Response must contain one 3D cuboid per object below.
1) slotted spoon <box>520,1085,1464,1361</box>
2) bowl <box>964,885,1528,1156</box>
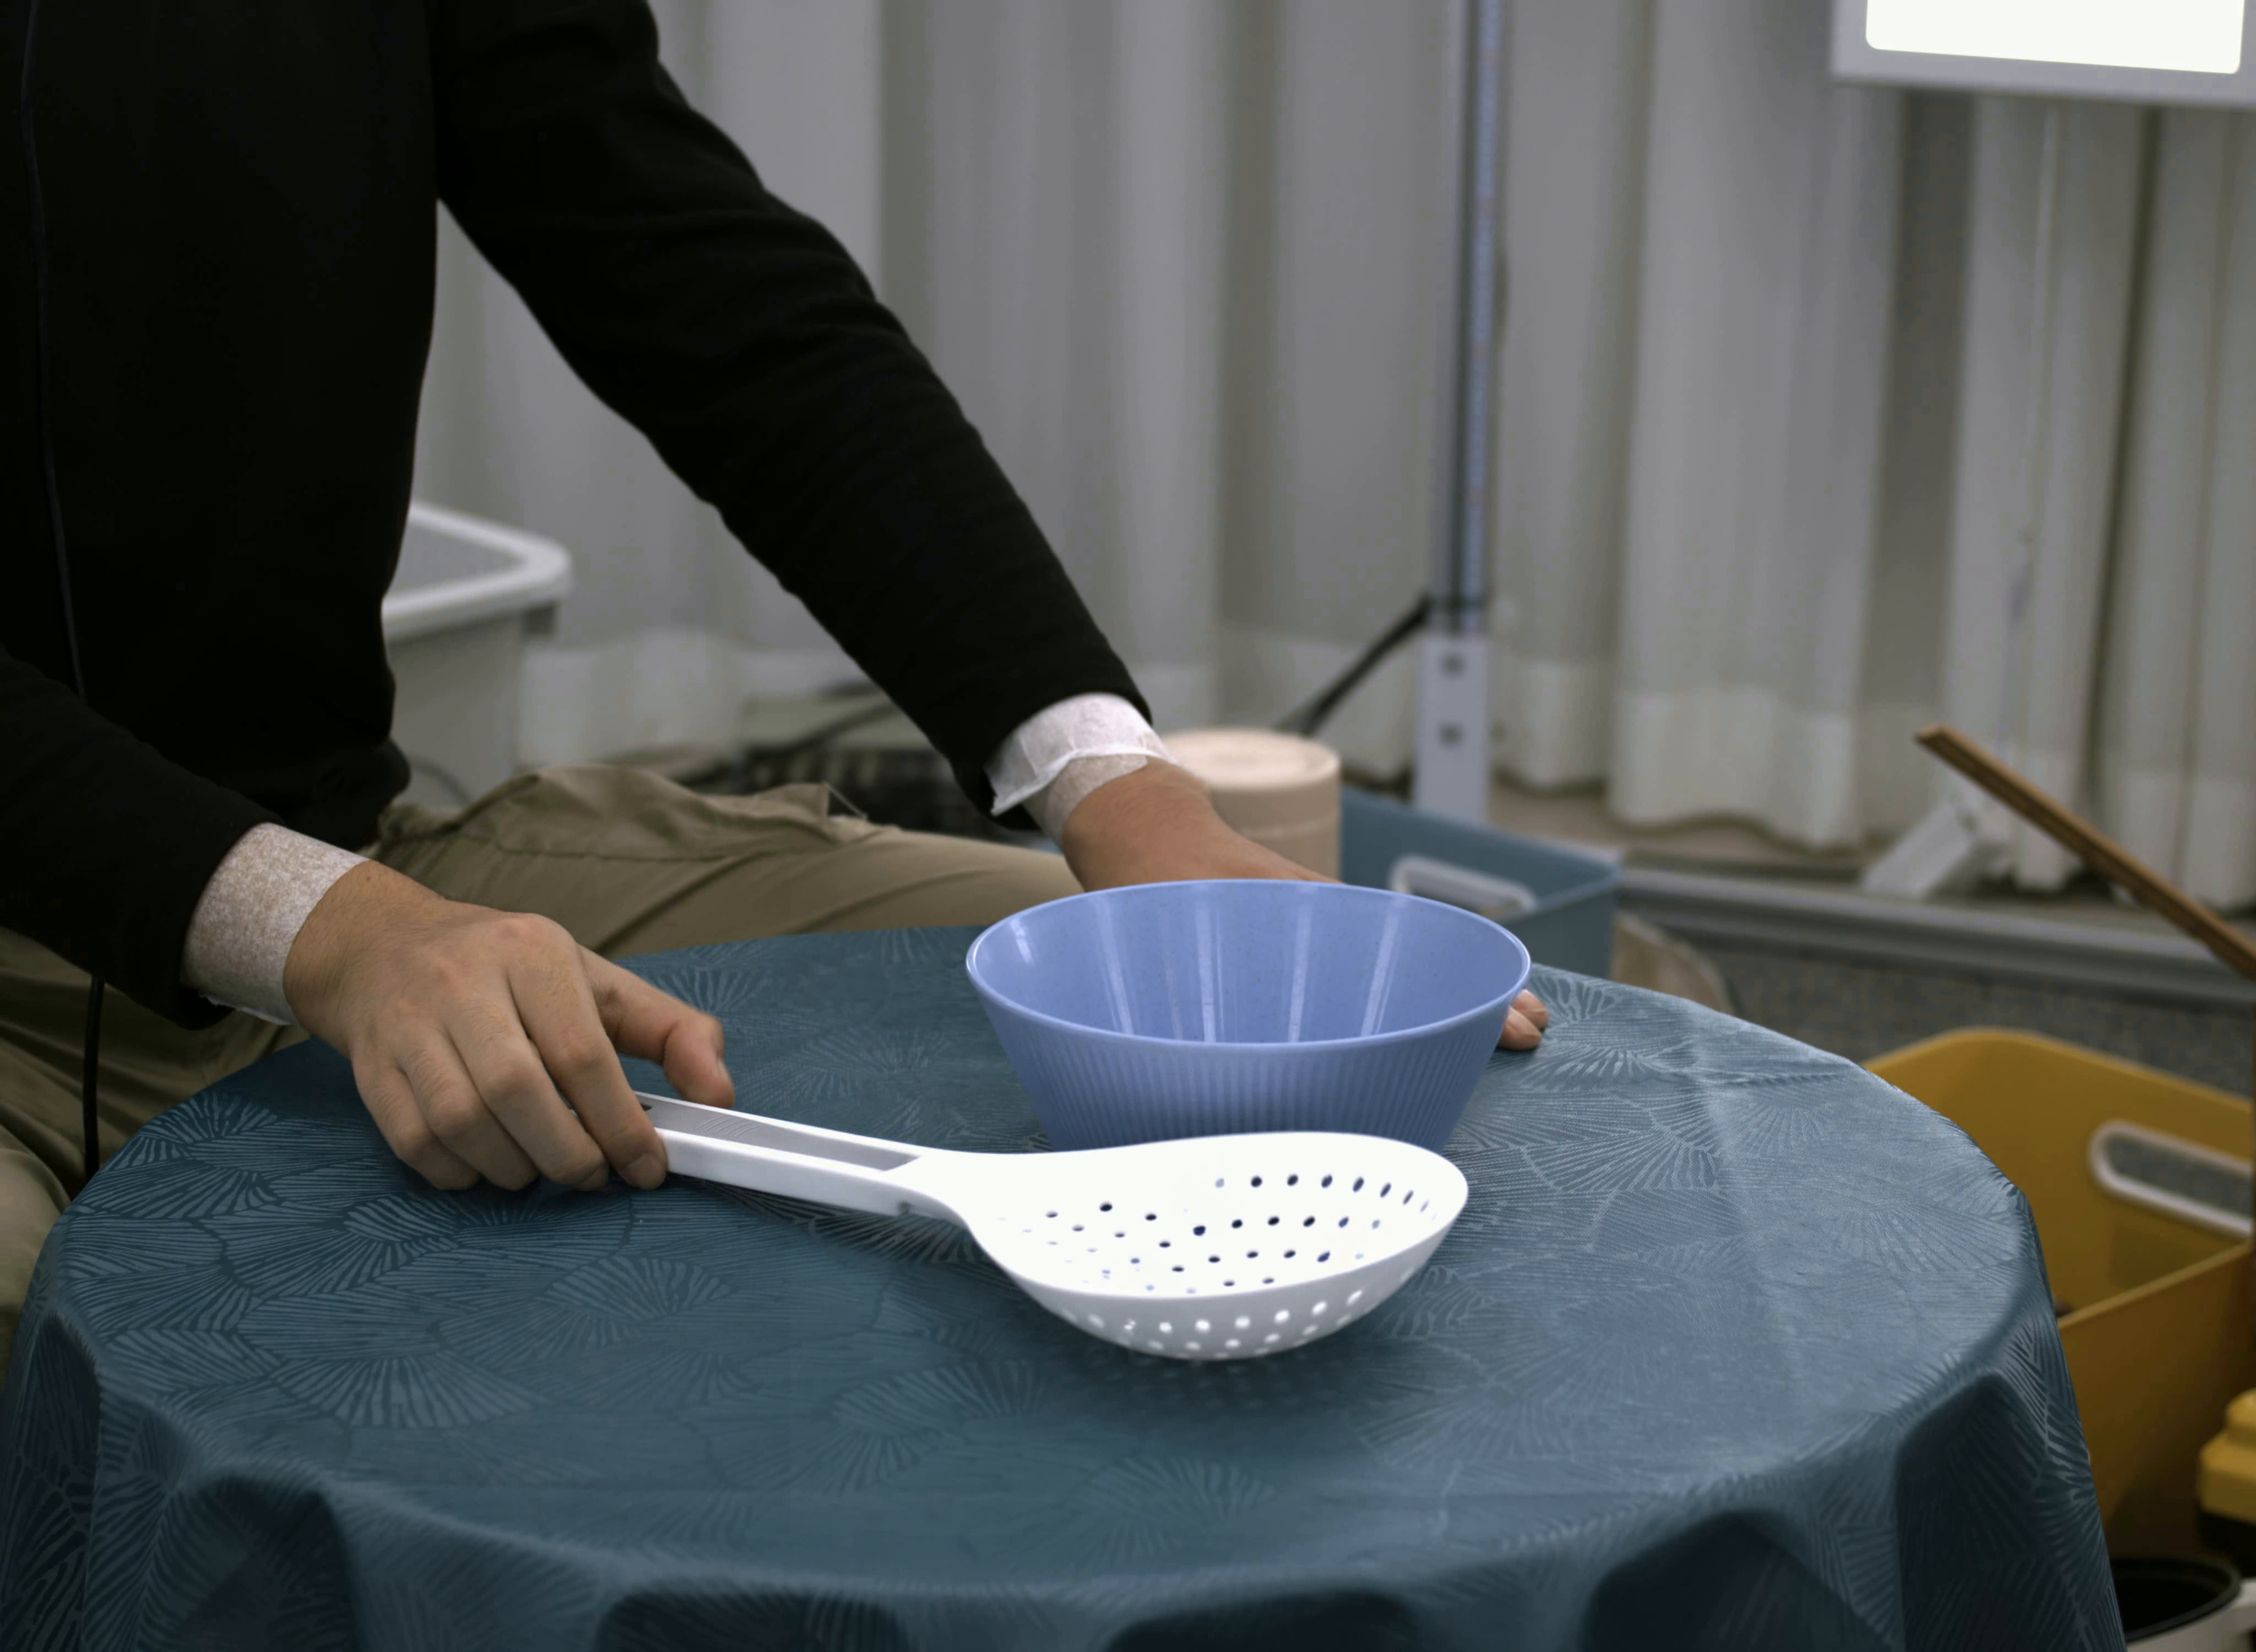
[{"bbox_3d":[-0.053,0.106,1.554,0.345,0.046,0.136,12,25,38],"label":"slotted spoon"},{"bbox_3d":[0.037,0.072,1.639,0.175,0.071,0.175,0,15,1],"label":"bowl"}]
